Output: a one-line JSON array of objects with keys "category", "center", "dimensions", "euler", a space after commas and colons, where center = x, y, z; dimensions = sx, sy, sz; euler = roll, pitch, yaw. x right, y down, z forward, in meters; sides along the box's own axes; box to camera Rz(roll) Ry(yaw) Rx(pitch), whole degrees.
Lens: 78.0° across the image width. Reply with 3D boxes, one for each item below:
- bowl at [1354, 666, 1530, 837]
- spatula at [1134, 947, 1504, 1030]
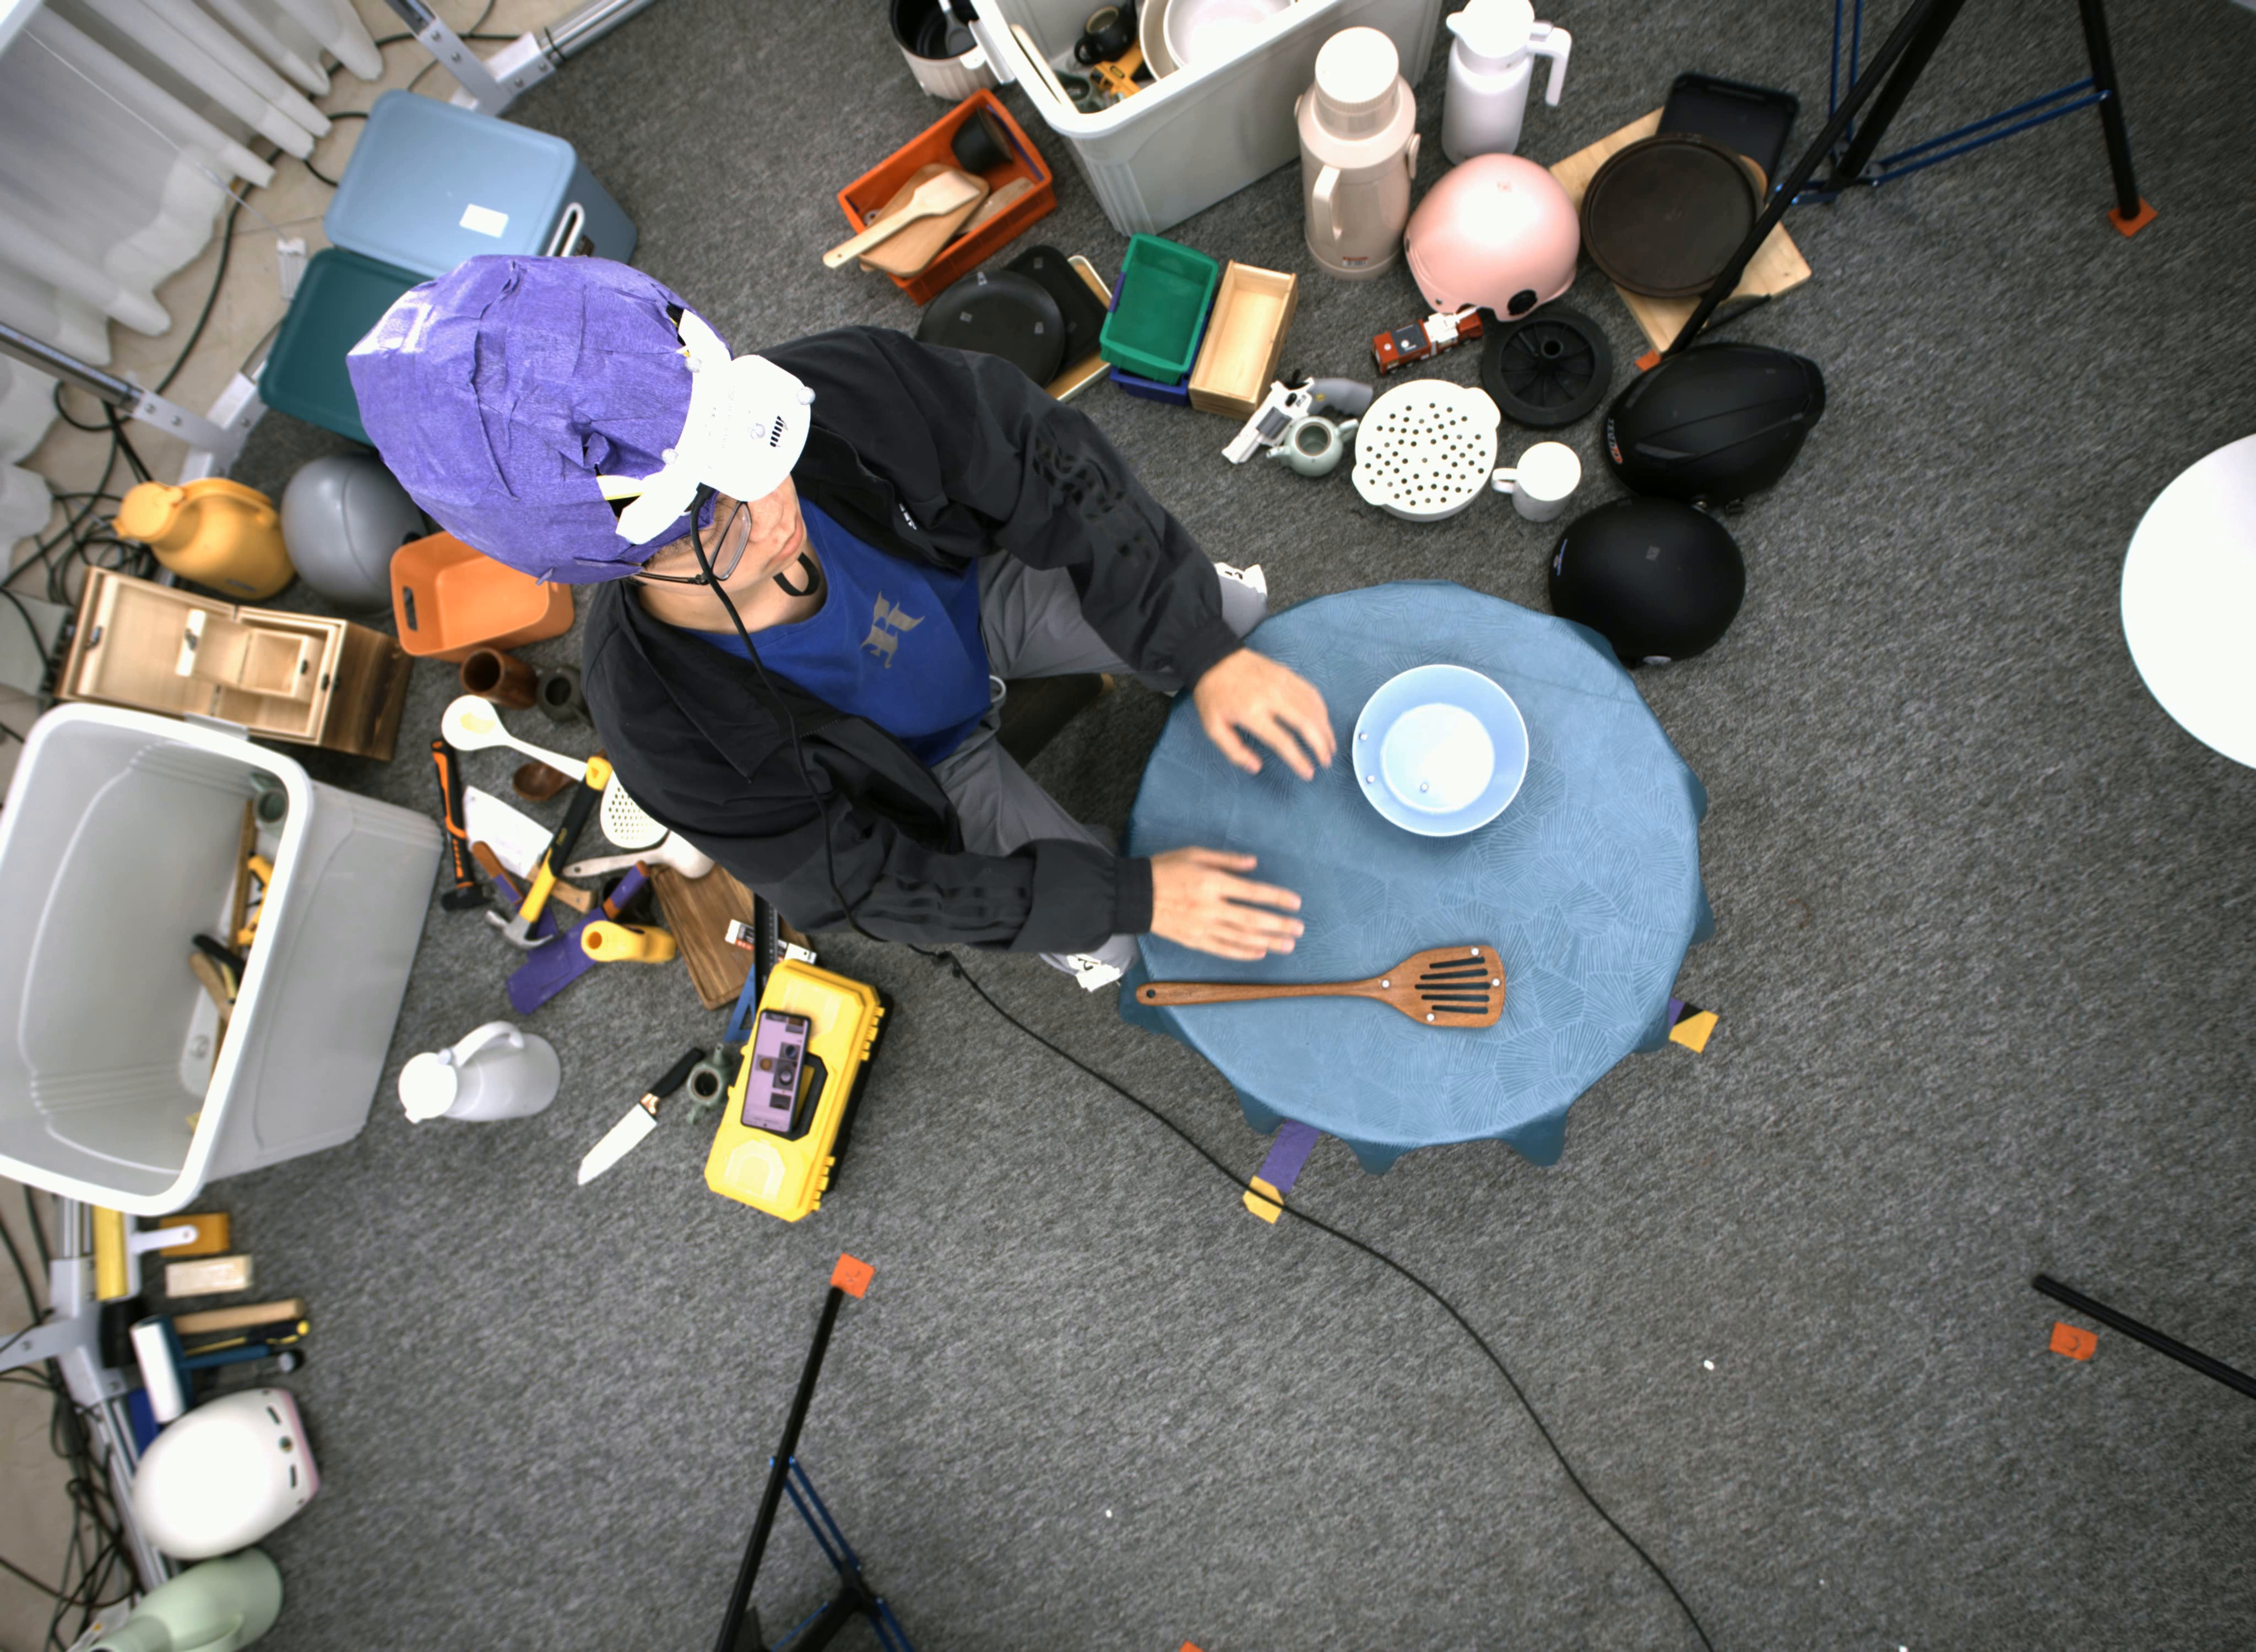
[{"category": "bowl", "center": [0.323, -0.074, 1.420], "dimensions": [0.177, 0.070, 0.175], "euler": [-1, 86, 12]}, {"category": "spatula", "center": [0.196, 0.171, 1.457], "dimensions": [0.388, 0.024, 0.085], "euler": [-2, 86, 12]}]
